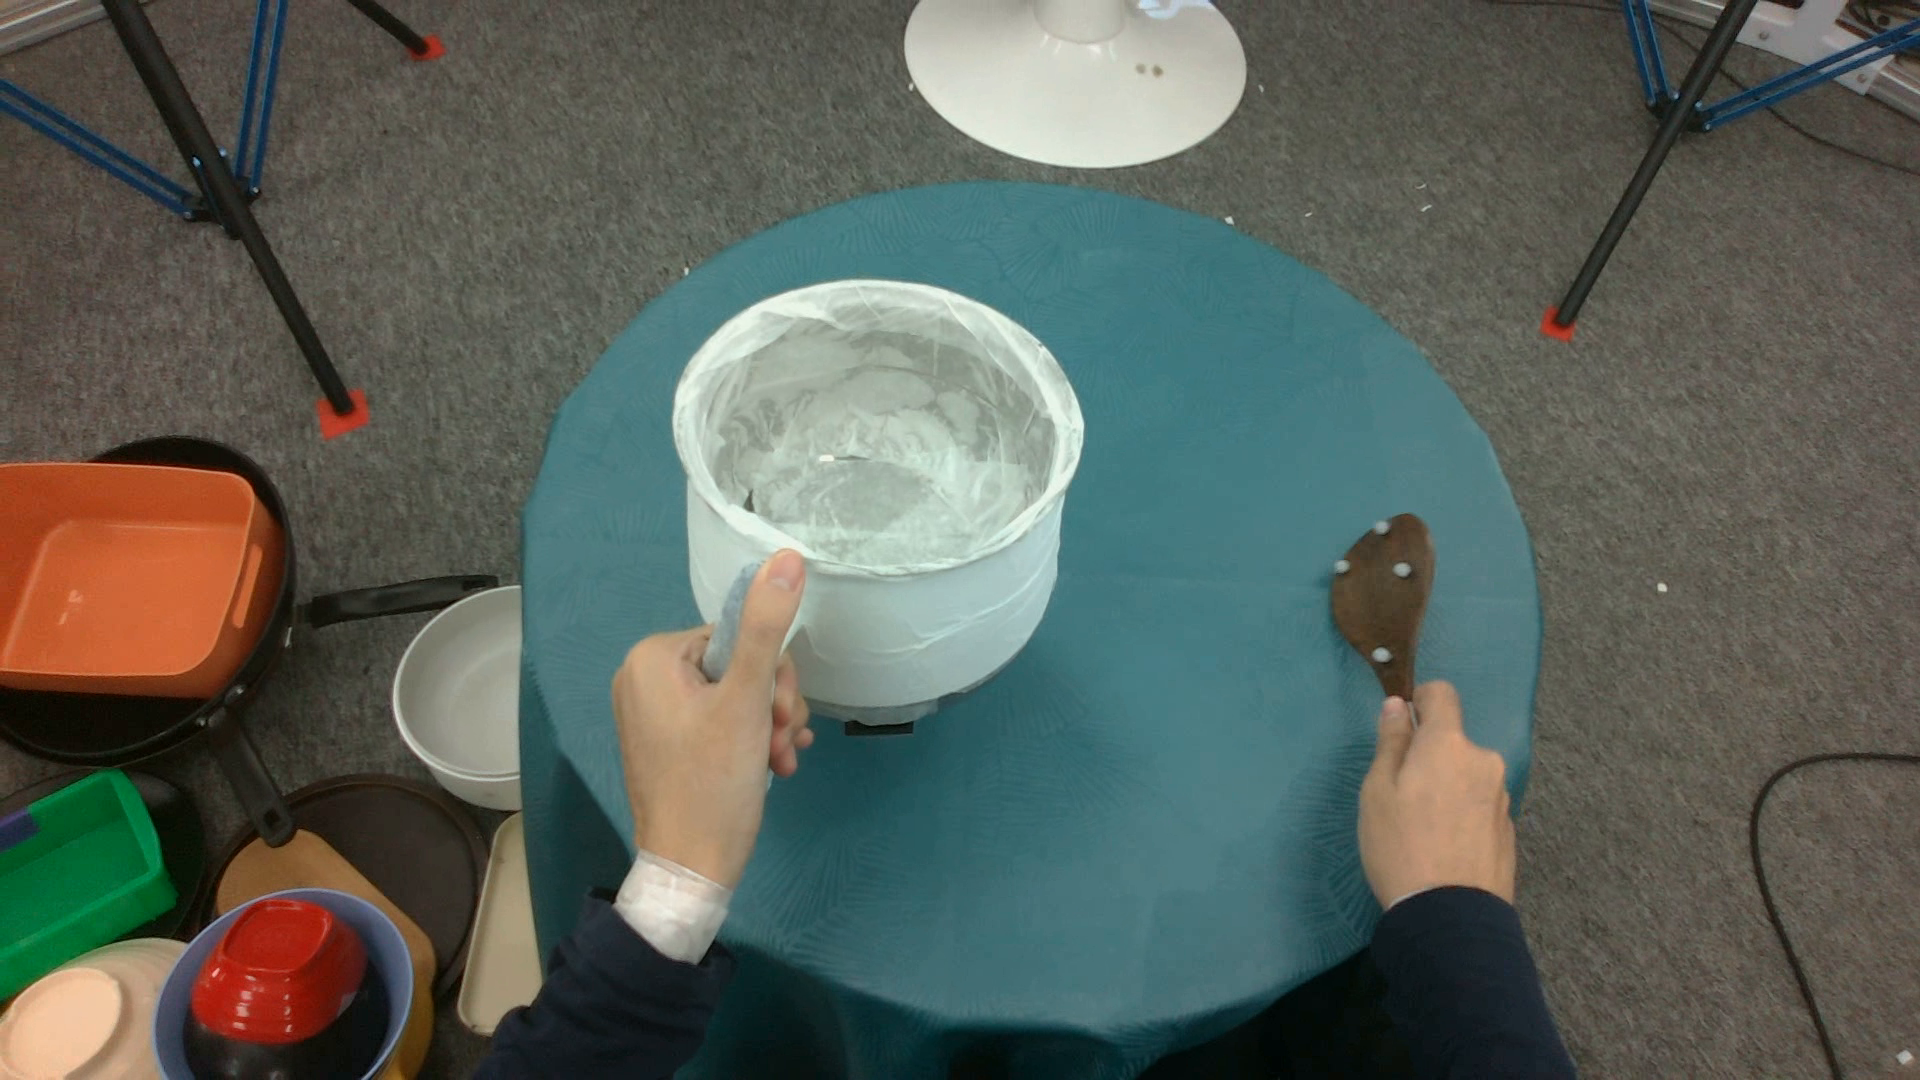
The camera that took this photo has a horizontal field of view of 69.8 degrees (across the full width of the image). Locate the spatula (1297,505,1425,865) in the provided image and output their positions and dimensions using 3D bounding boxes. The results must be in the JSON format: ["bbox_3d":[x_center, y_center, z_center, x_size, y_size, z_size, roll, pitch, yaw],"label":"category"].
[{"bbox_3d":[0.219,0.074,0.738,0.009,0.071,0.216,22,48,-27],"label":"spatula"}]

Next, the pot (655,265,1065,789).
[{"bbox_3d":[-0.058,-0.003,0.625,0.178,0.136,0.235,20,50,12],"label":"pot"}]
